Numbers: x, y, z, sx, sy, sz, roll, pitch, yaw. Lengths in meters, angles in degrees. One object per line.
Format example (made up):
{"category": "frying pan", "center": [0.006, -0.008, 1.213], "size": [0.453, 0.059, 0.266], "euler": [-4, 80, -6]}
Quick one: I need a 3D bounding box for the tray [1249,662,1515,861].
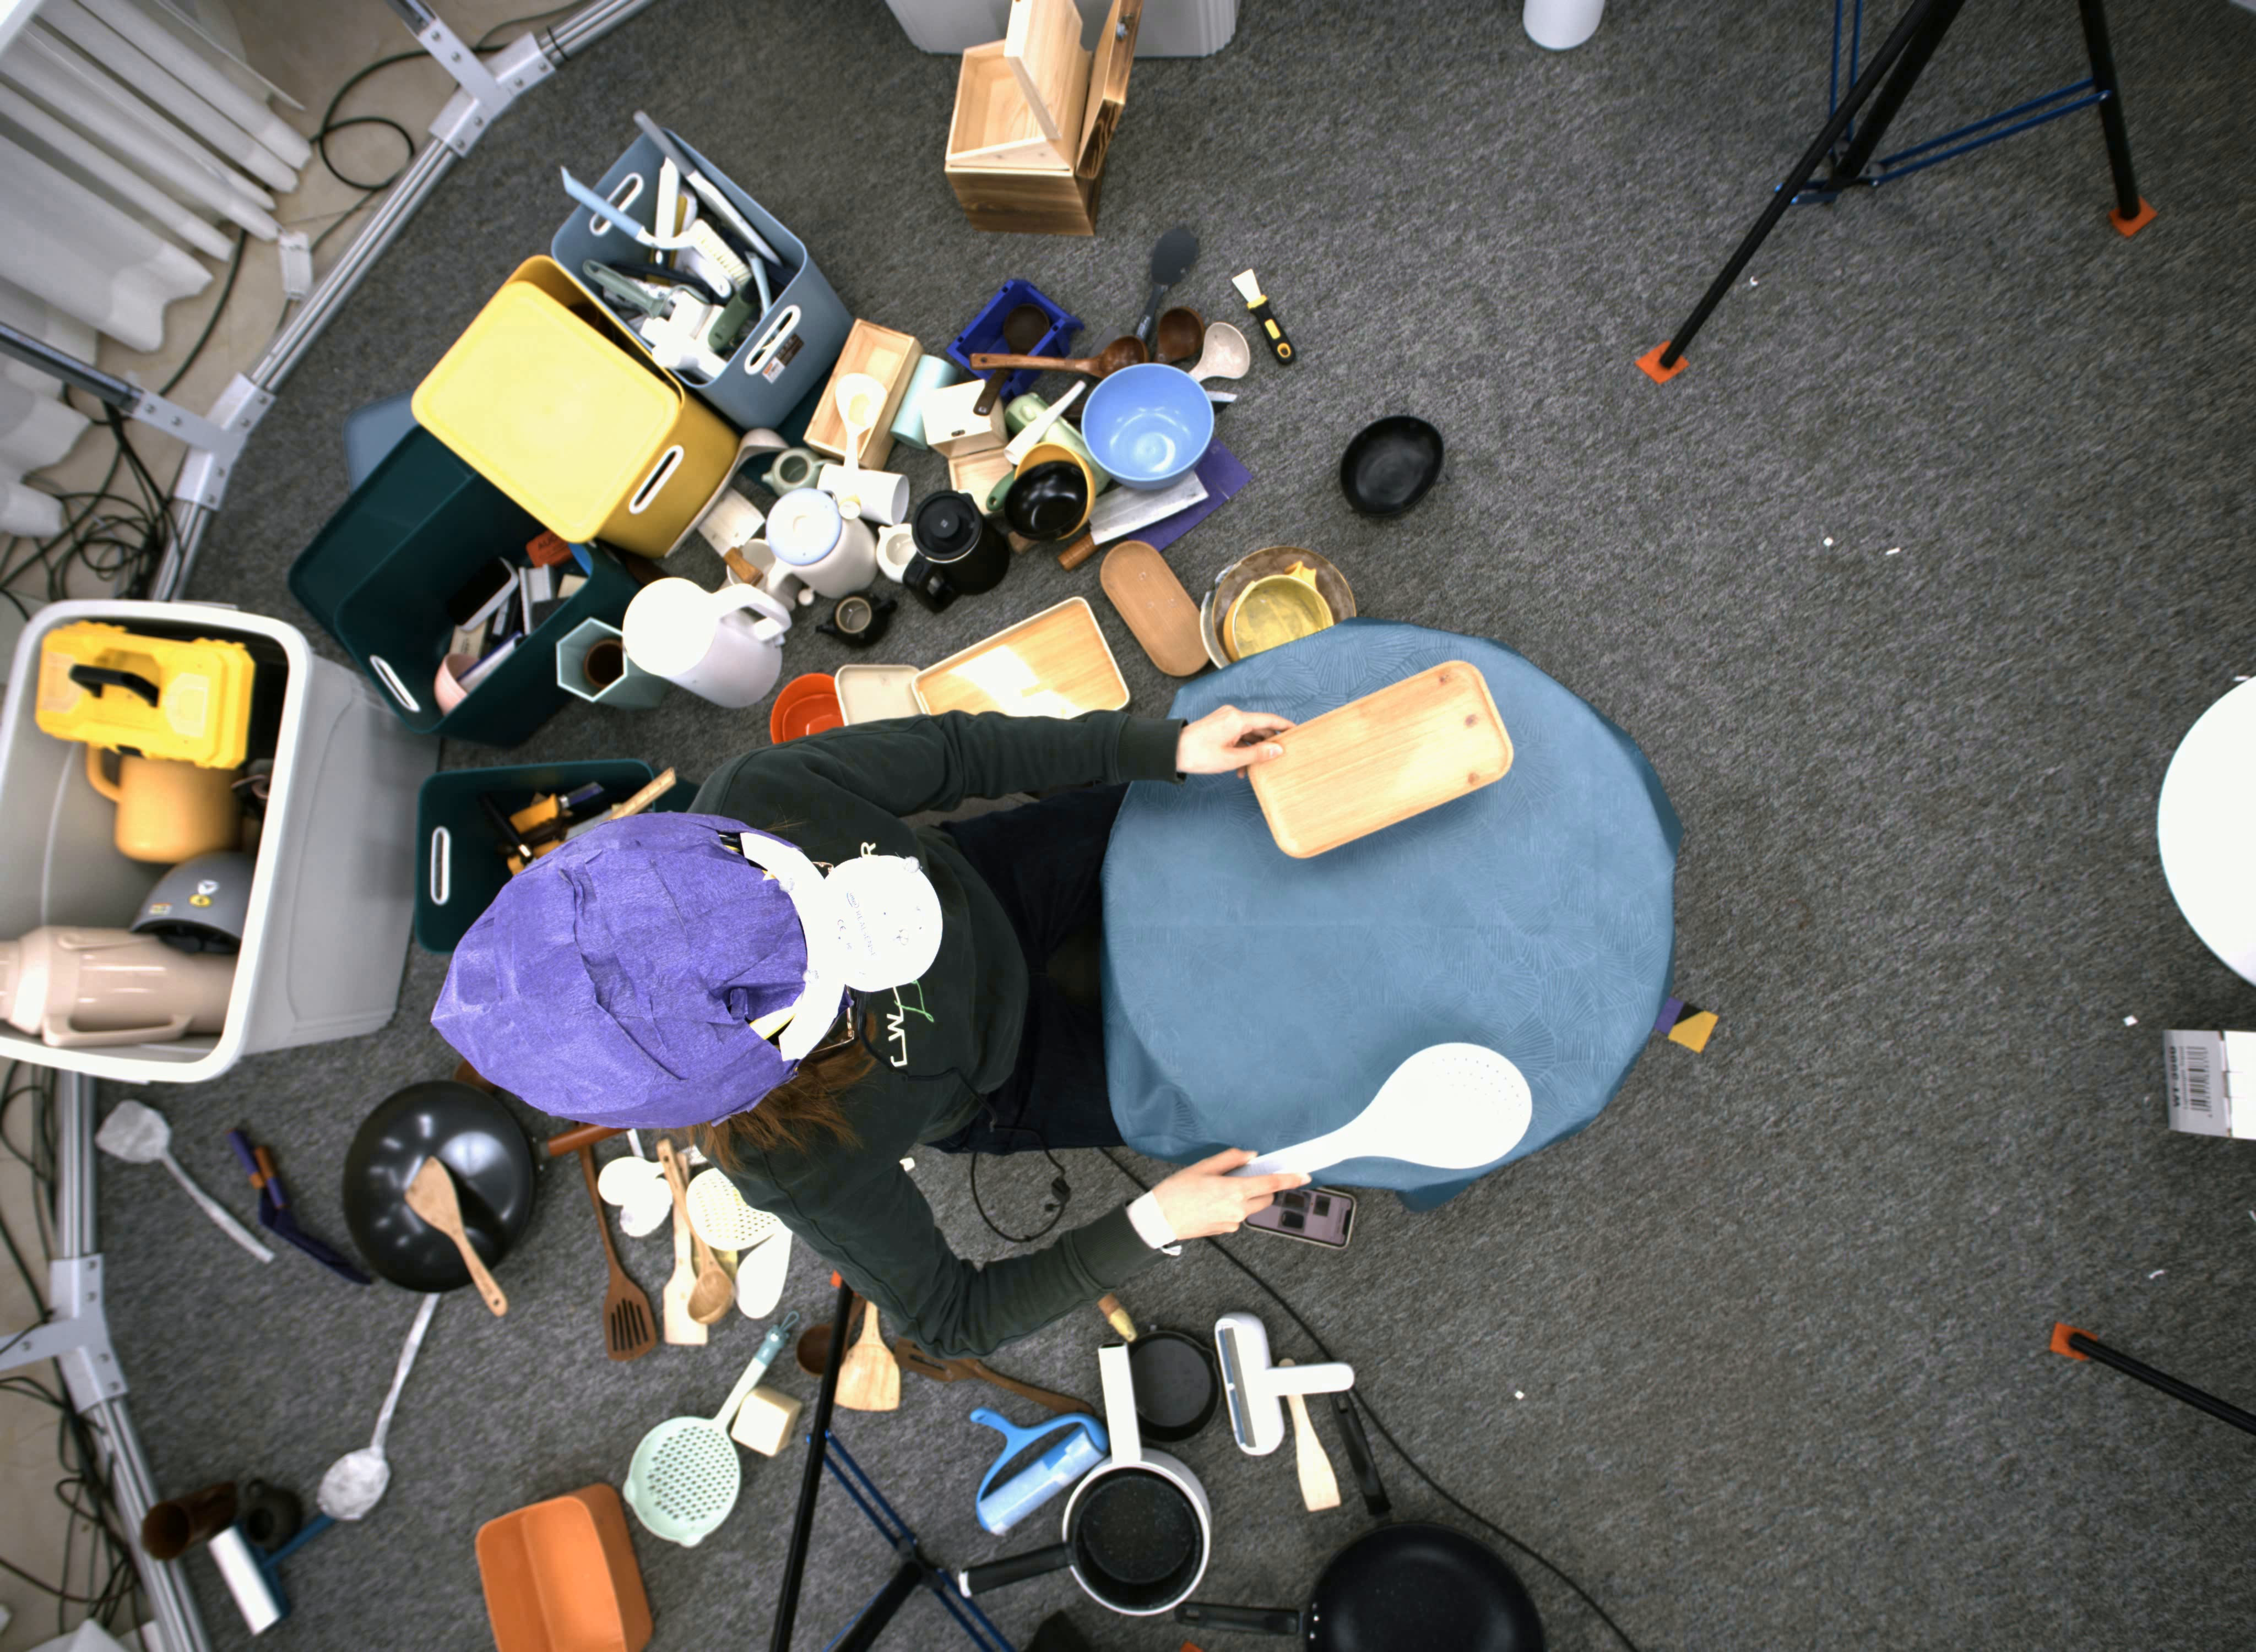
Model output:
{"category": "tray", "center": [0.252, -0.064, 1.375], "size": [0.253, 0.023, 0.130], "euler": [-23, 89, 13]}

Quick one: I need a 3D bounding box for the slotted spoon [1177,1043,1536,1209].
{"category": "slotted spoon", "center": [0.216, 0.298, 1.316], "size": [0.350, 0.047, 0.133], "euler": [-15, 44, -3]}
